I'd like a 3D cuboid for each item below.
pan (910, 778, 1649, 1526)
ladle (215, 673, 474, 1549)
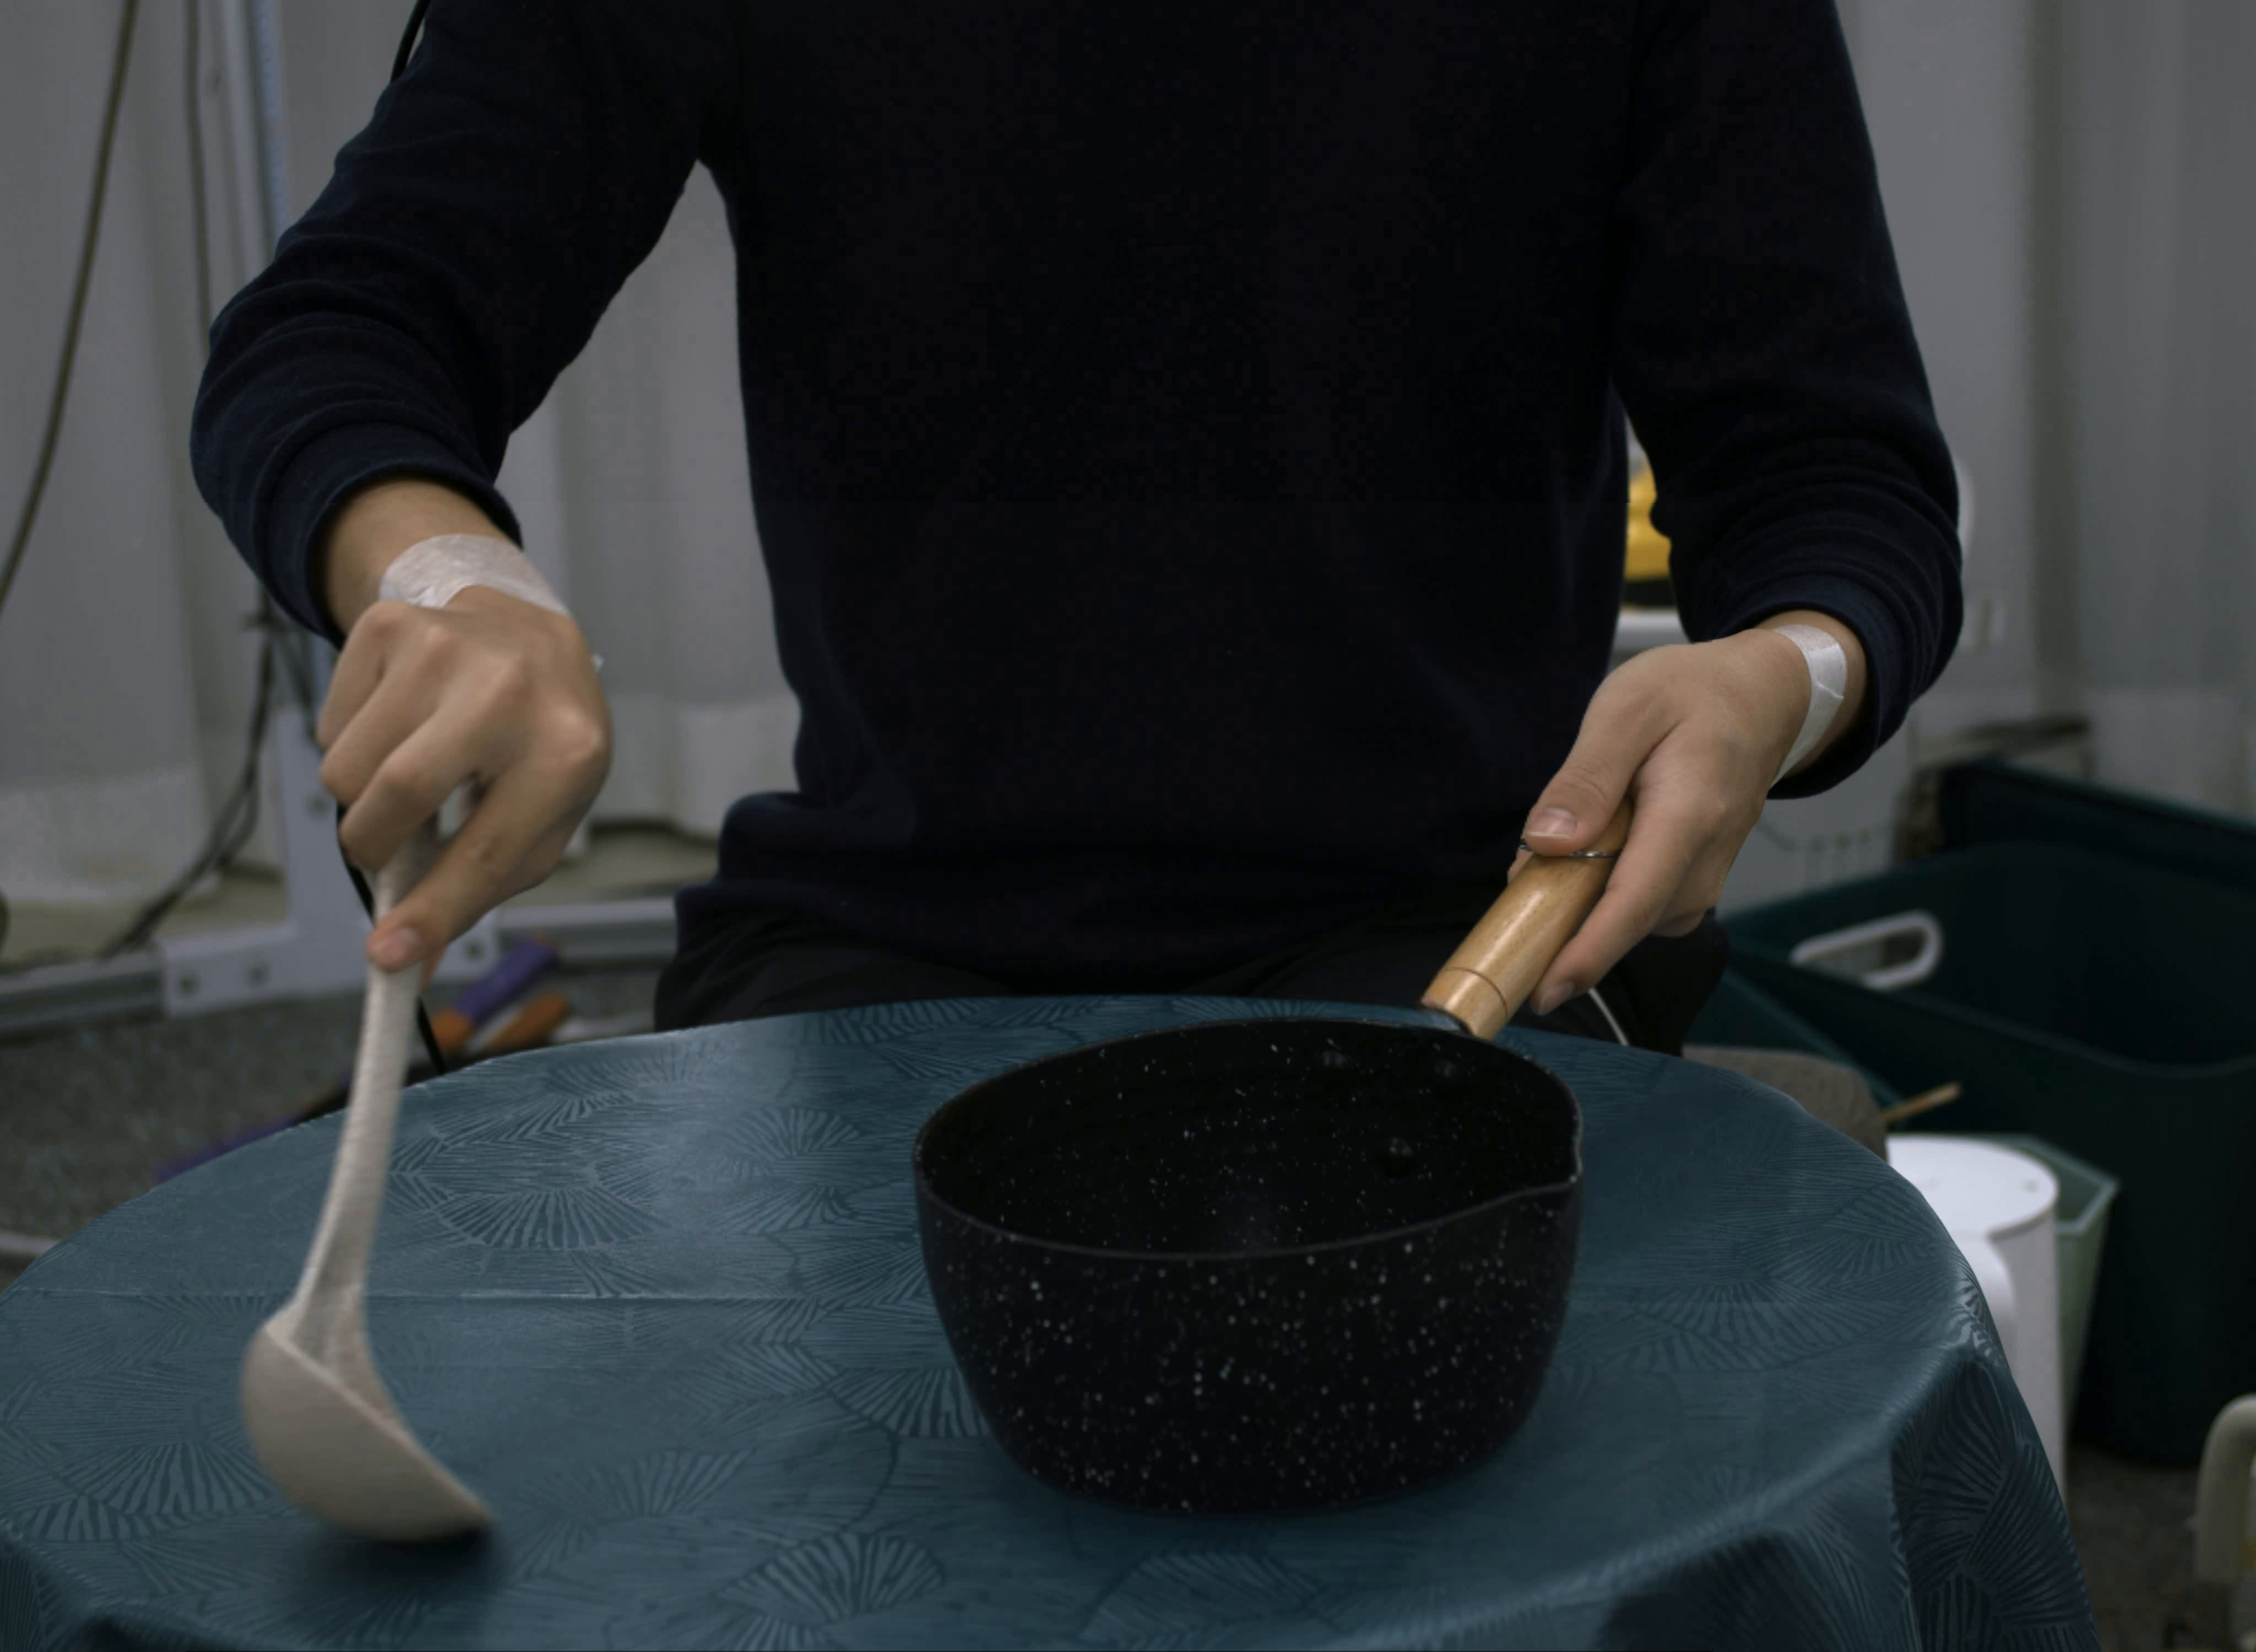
[{"bbox_3d":[0.071,0.088,1.570,0.208,0.107,0.344,4,20,28],"label":"pan"},{"bbox_3d":[-0.195,0.069,1.510,0.069,0.088,0.279,-11,53,26],"label":"ladle"}]
